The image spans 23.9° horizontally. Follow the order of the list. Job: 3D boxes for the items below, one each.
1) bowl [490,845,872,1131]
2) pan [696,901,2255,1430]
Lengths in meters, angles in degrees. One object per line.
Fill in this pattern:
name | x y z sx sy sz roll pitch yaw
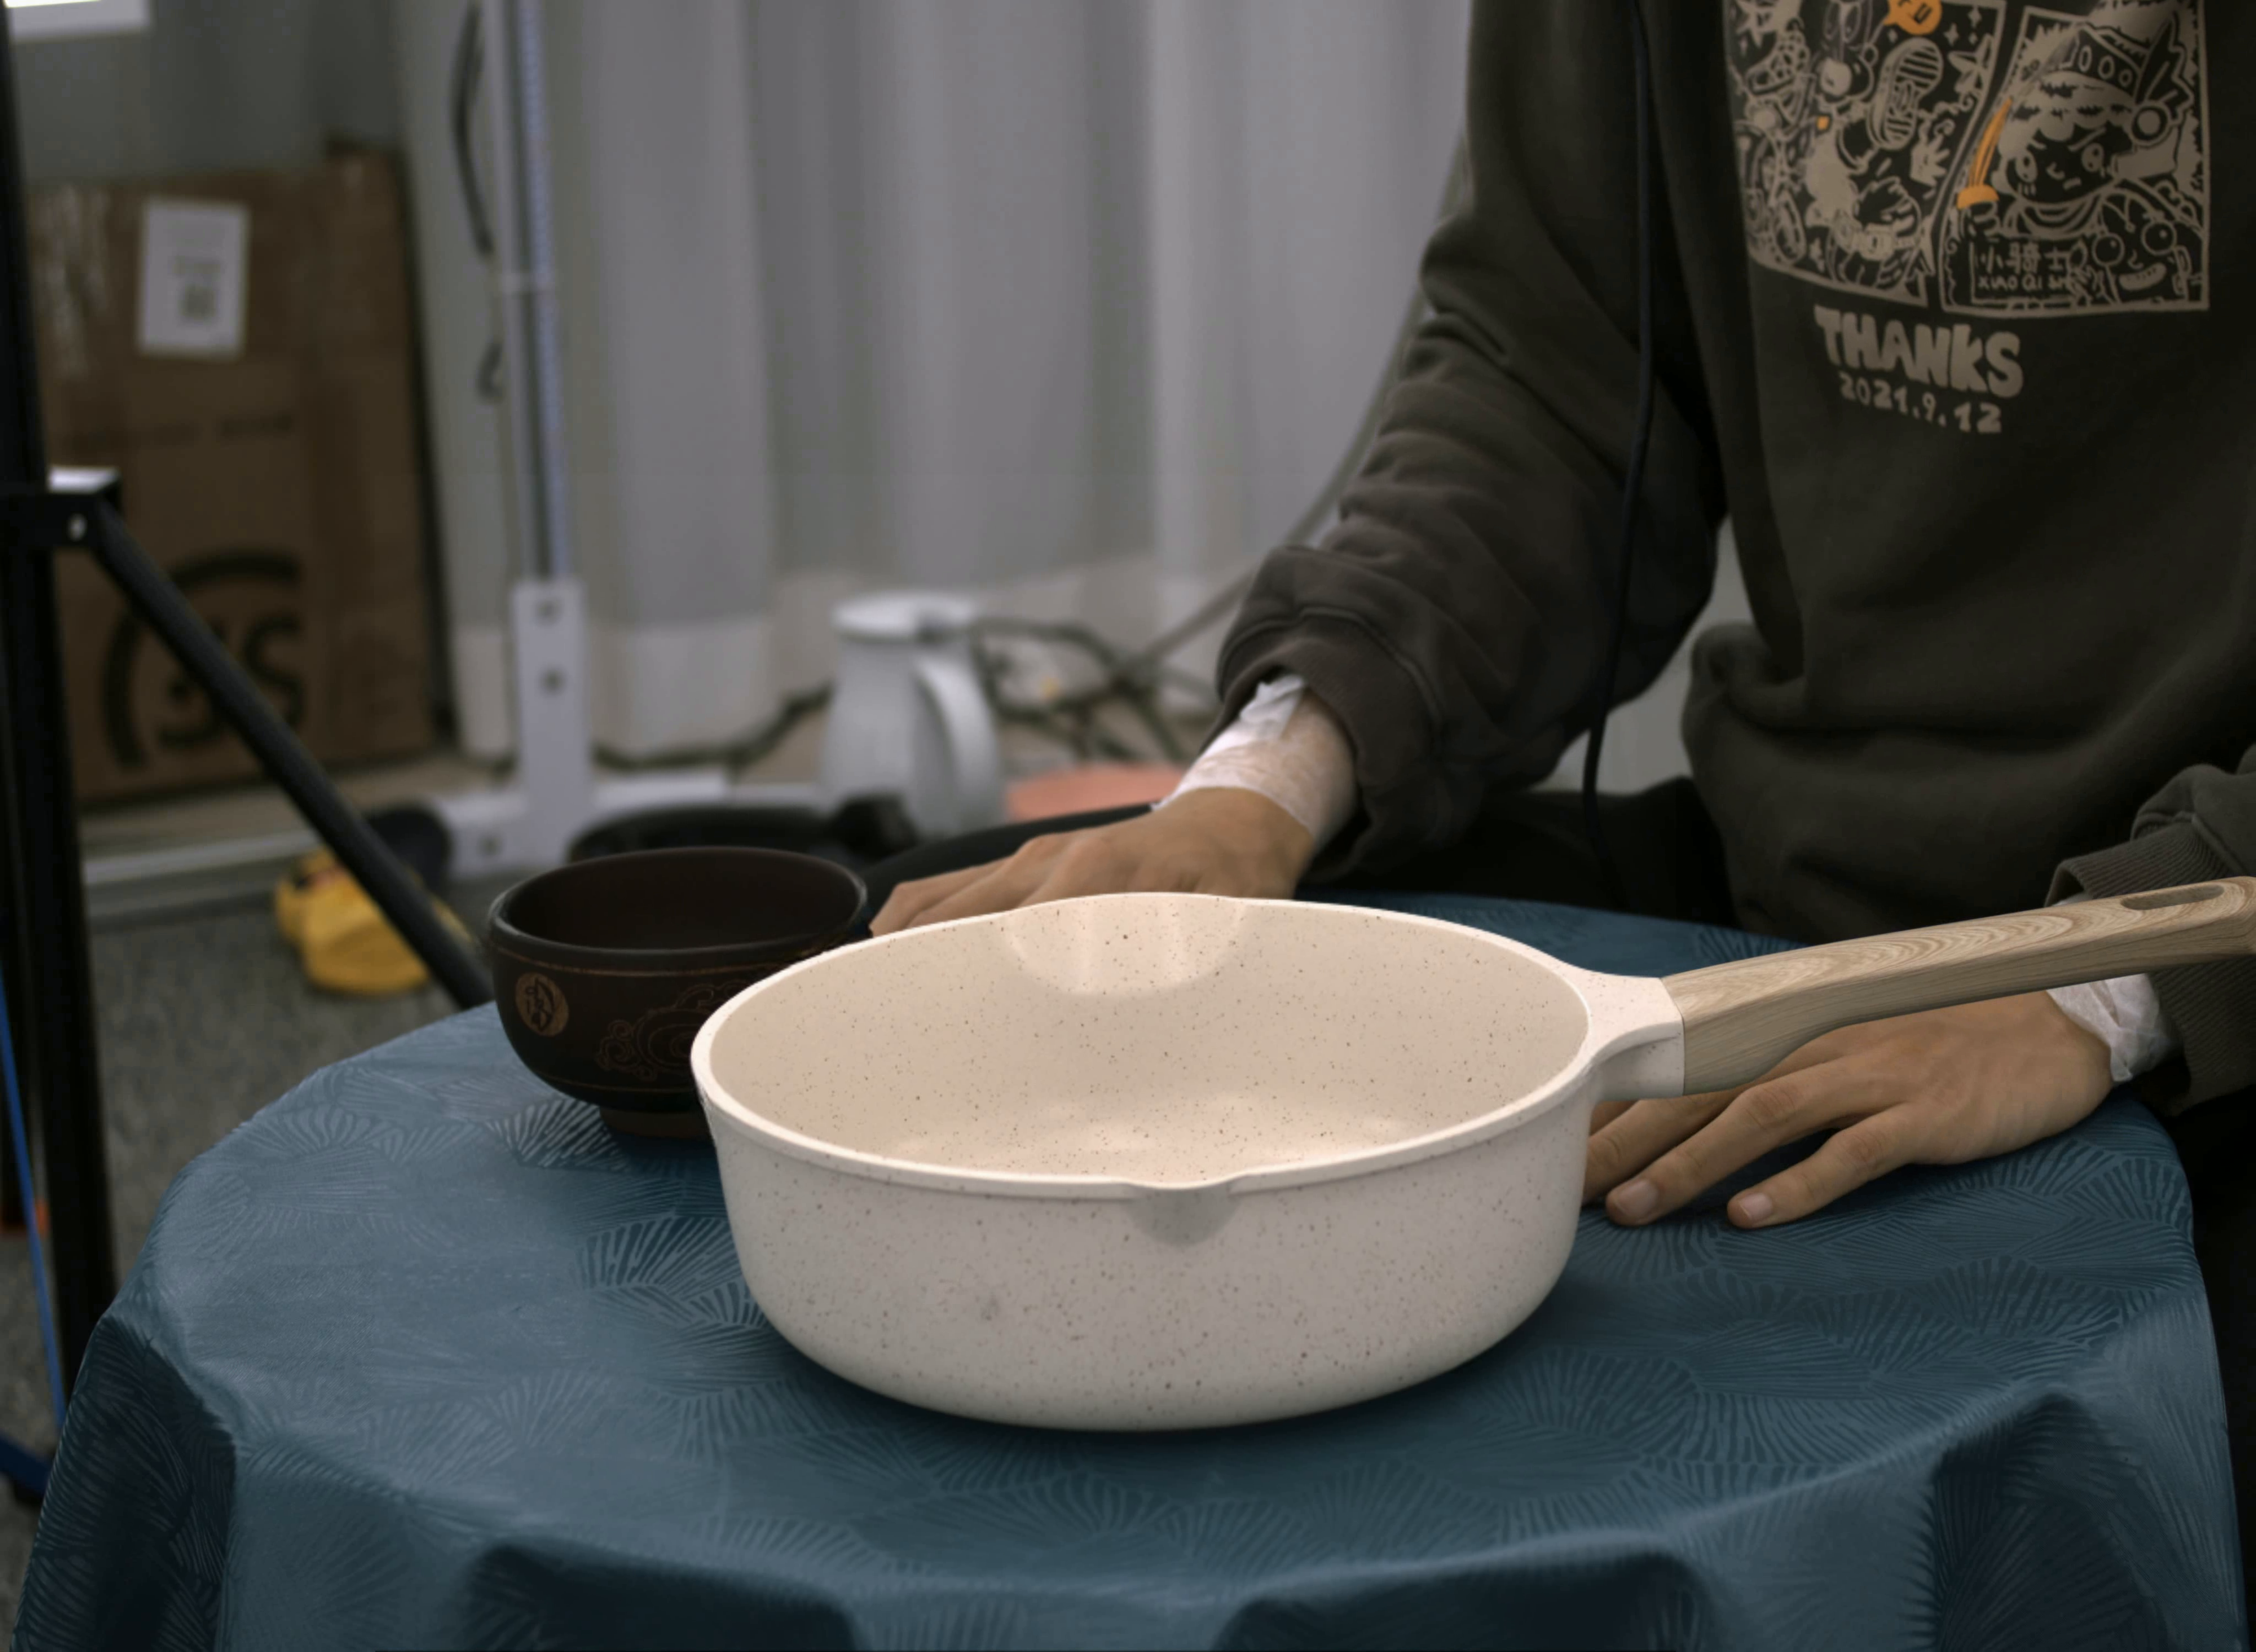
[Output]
bowl | -0.137 0.053 1.649 0.117 0.070 0.118 -2 14 -1
pan | 0.100 0.083 1.455 0.432 0.102 0.265 -3 14 -2
